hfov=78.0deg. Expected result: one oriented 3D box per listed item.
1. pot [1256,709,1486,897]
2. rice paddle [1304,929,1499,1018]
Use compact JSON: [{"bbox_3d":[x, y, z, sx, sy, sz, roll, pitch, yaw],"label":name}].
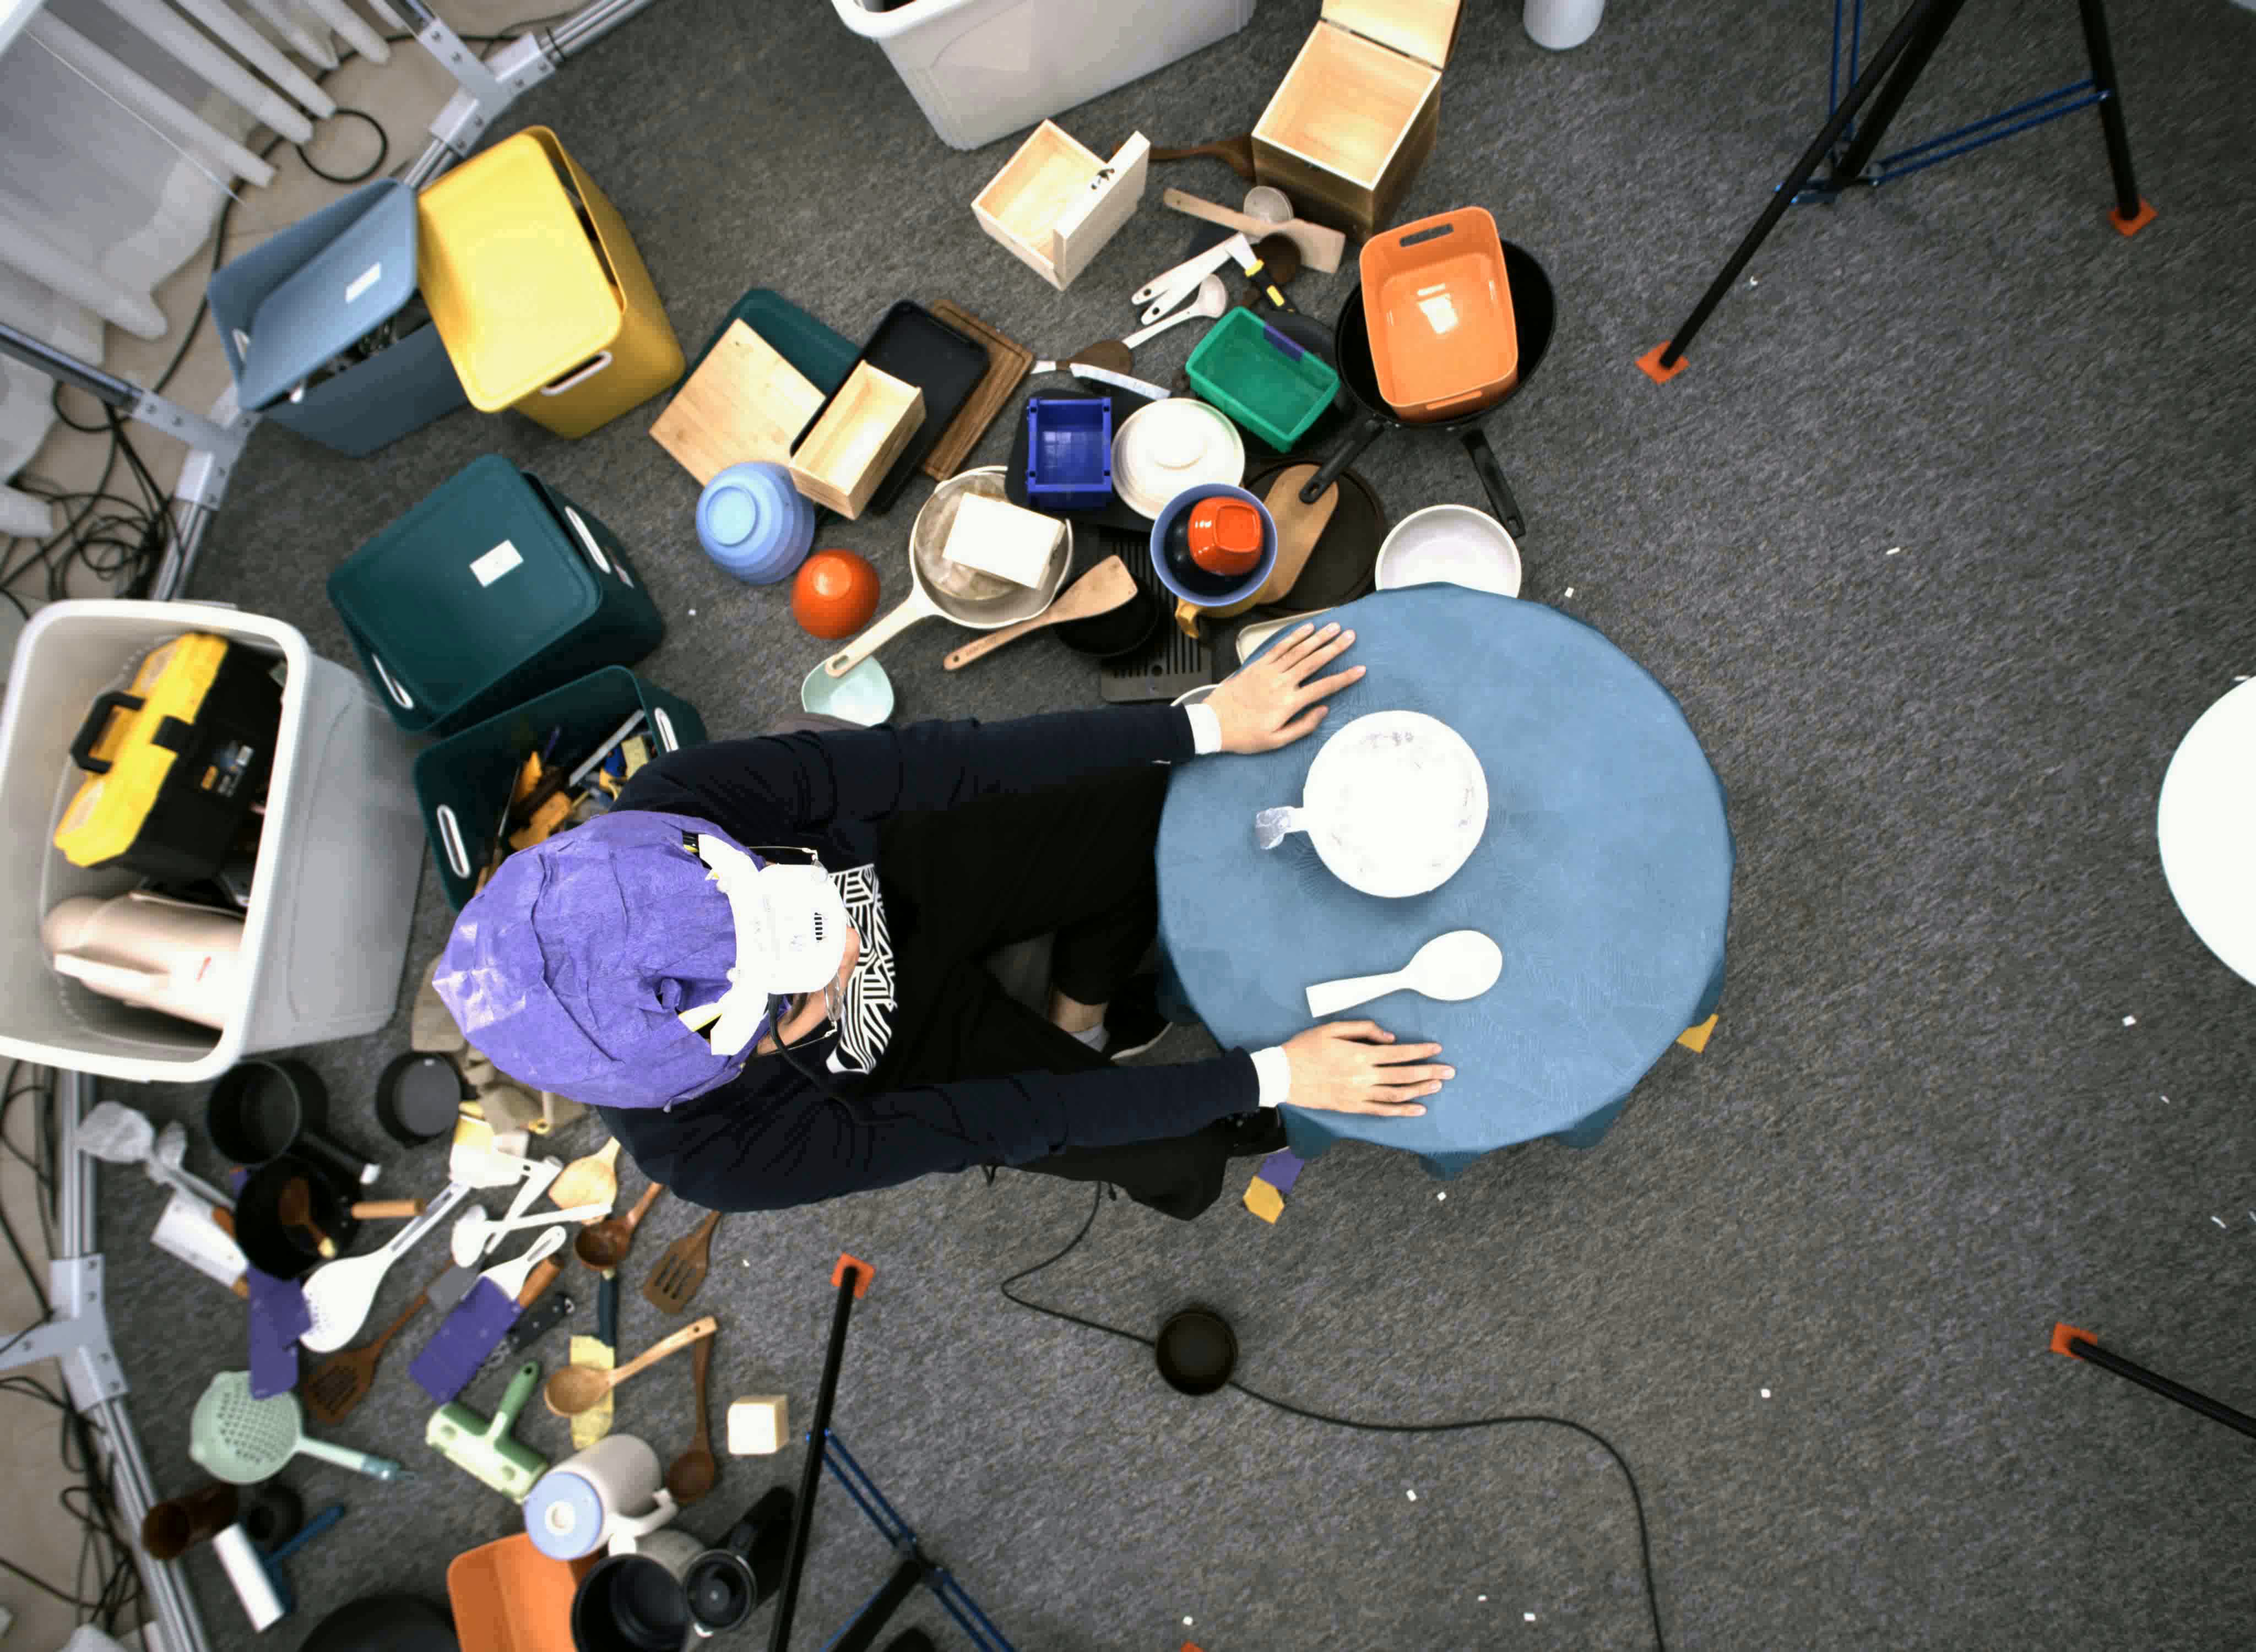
[{"bbox_3d":[0.243,-0.015,1.405,0.235,0.137,0.177,-10,82,11],"label":"pot"},{"bbox_3d":[0.285,0.157,1.438,0.206,0.029,0.068,-16,86,10],"label":"rice paddle"}]
